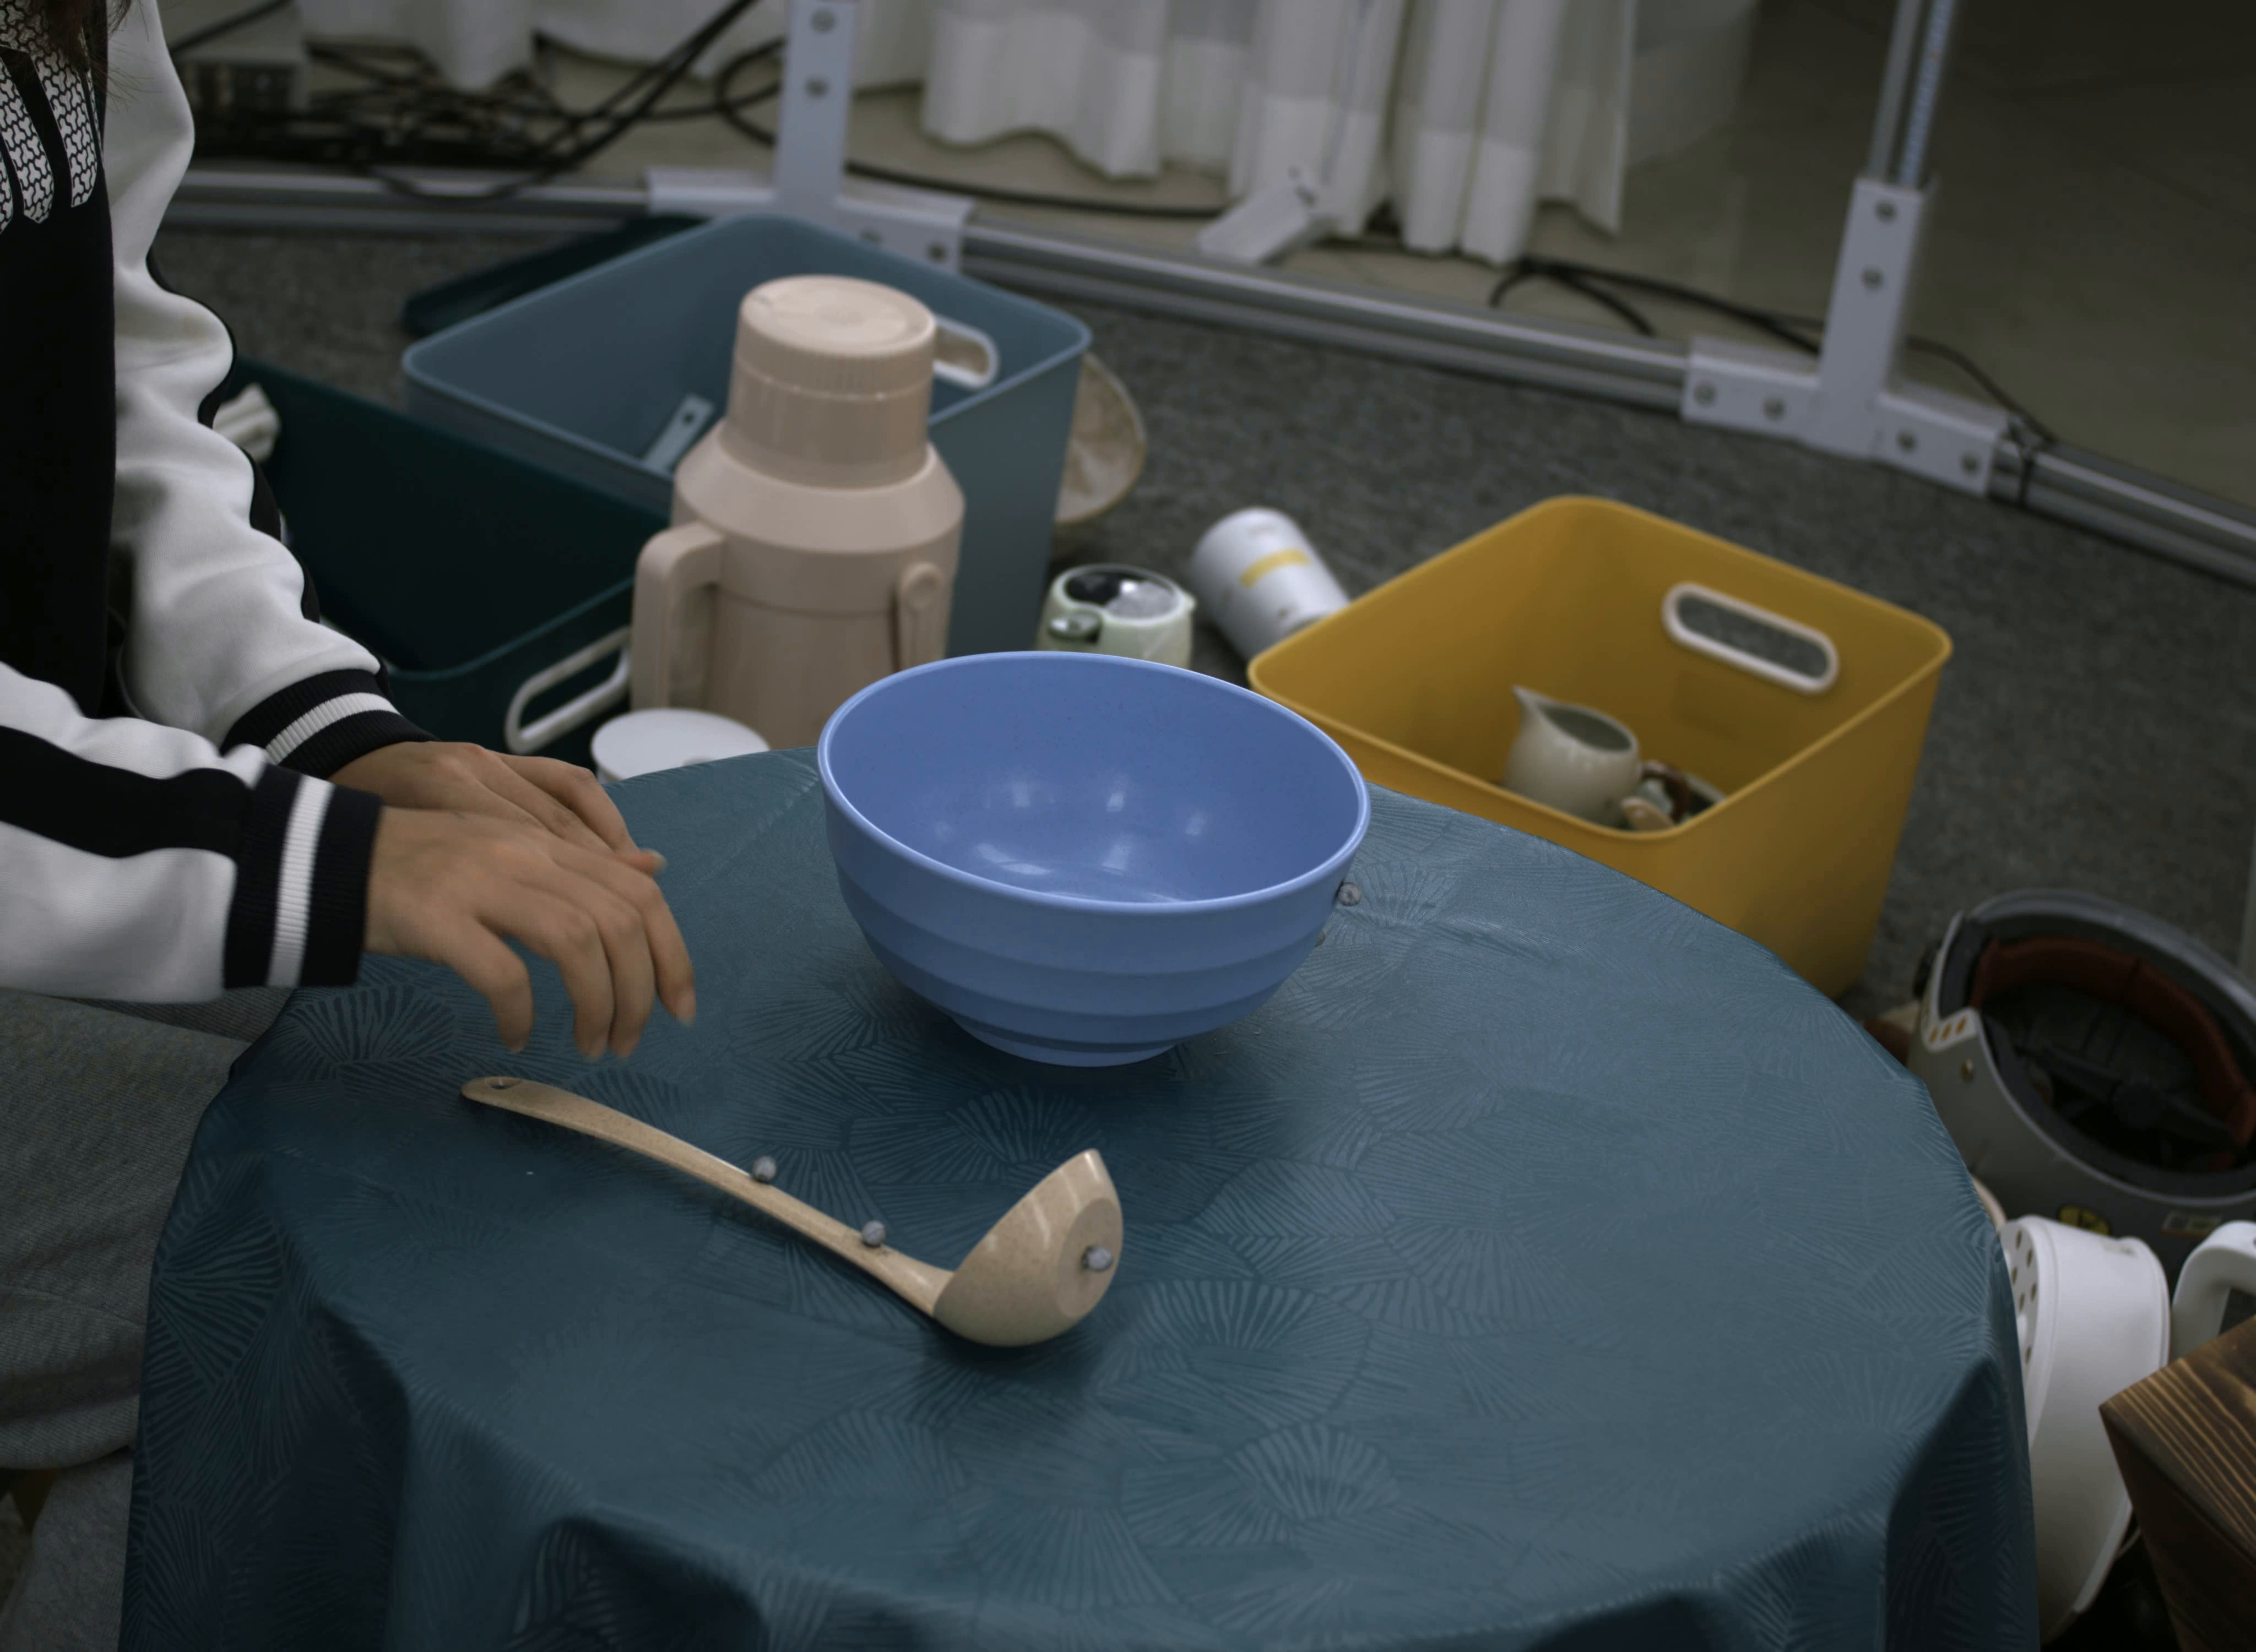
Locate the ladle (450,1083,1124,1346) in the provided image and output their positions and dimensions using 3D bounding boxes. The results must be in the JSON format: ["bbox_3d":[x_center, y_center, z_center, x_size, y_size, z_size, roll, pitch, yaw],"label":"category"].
[{"bbox_3d":[-0.118,0.100,1.742,0.256,0.072,0.072,21,29,26],"label":"ladle"}]

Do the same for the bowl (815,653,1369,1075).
[{"bbox_3d":[-0.017,0.025,1.895,0.196,0.095,0.198,4,28,-3],"label":"bowl"}]
